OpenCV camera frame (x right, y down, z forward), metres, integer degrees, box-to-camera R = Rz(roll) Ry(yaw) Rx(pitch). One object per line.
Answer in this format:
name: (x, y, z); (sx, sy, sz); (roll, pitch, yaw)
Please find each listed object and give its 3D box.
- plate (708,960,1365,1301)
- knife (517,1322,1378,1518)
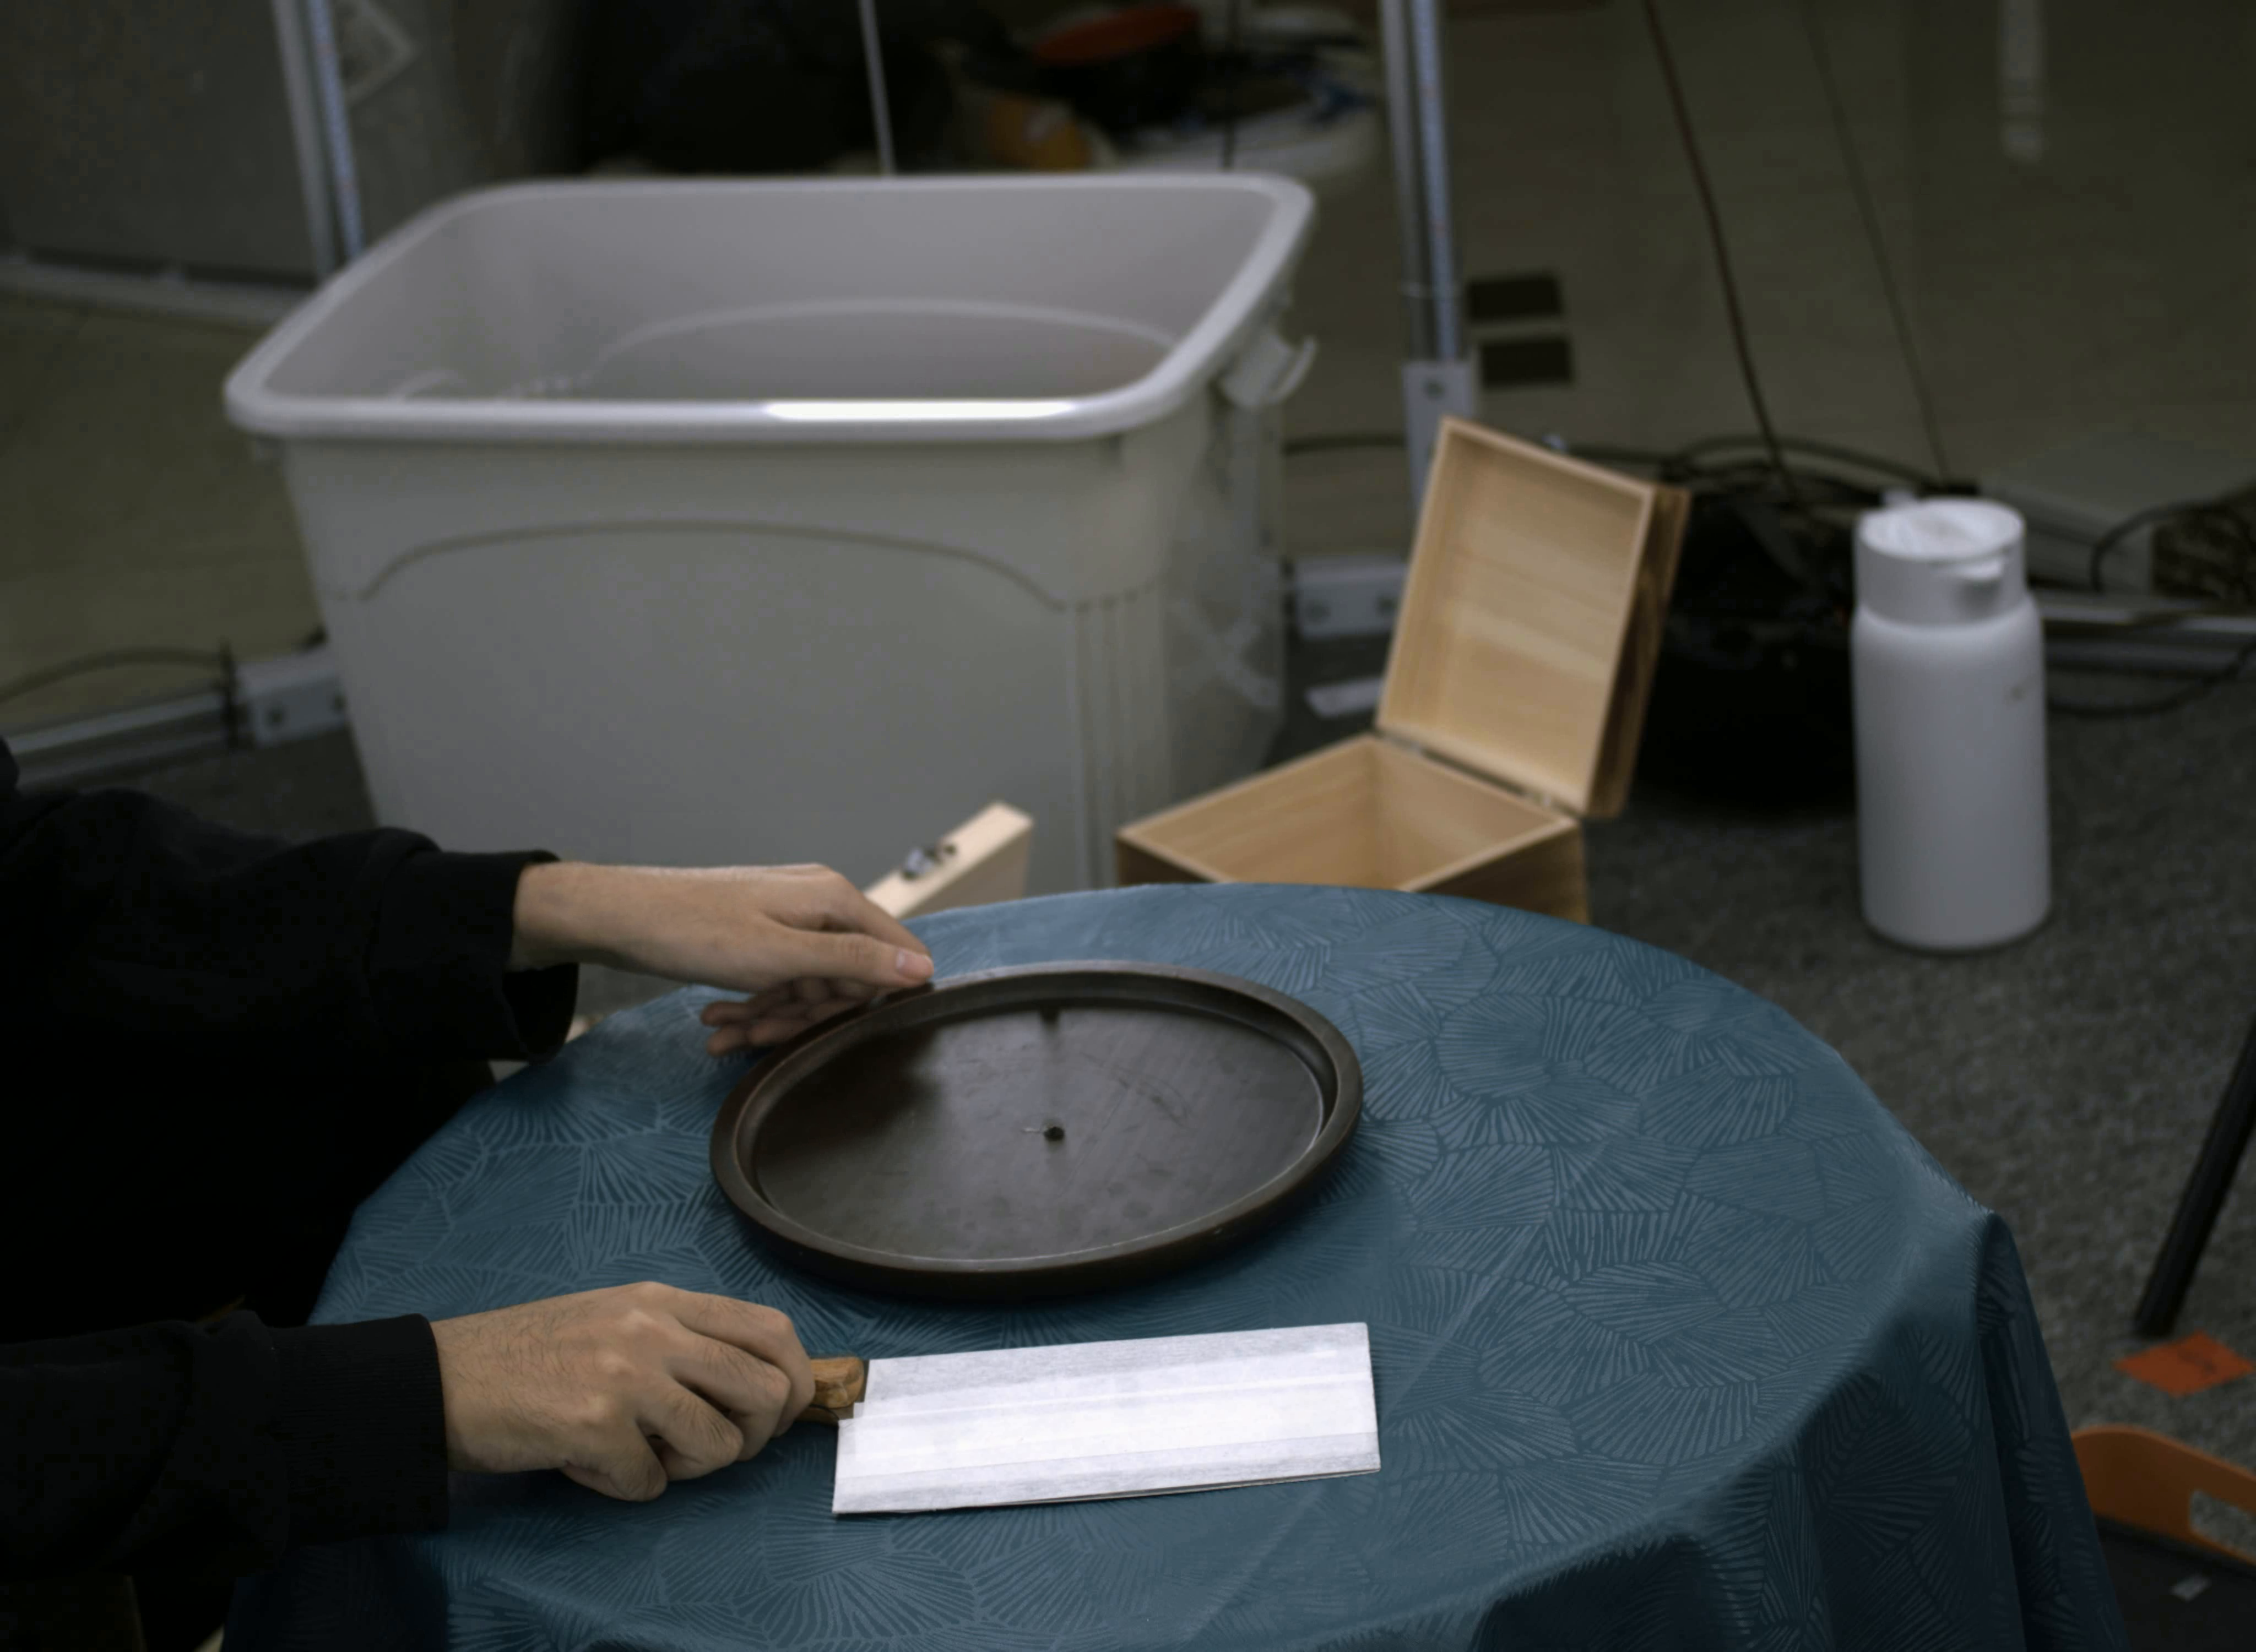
plate: (-0.035, 0.116, 2.175); (0.254, 0.029, 0.251); (-5, 24, 2)
knife: (-0.065, 0.211, 1.993); (0.305, 0.021, 0.091); (-5, 31, 2)
